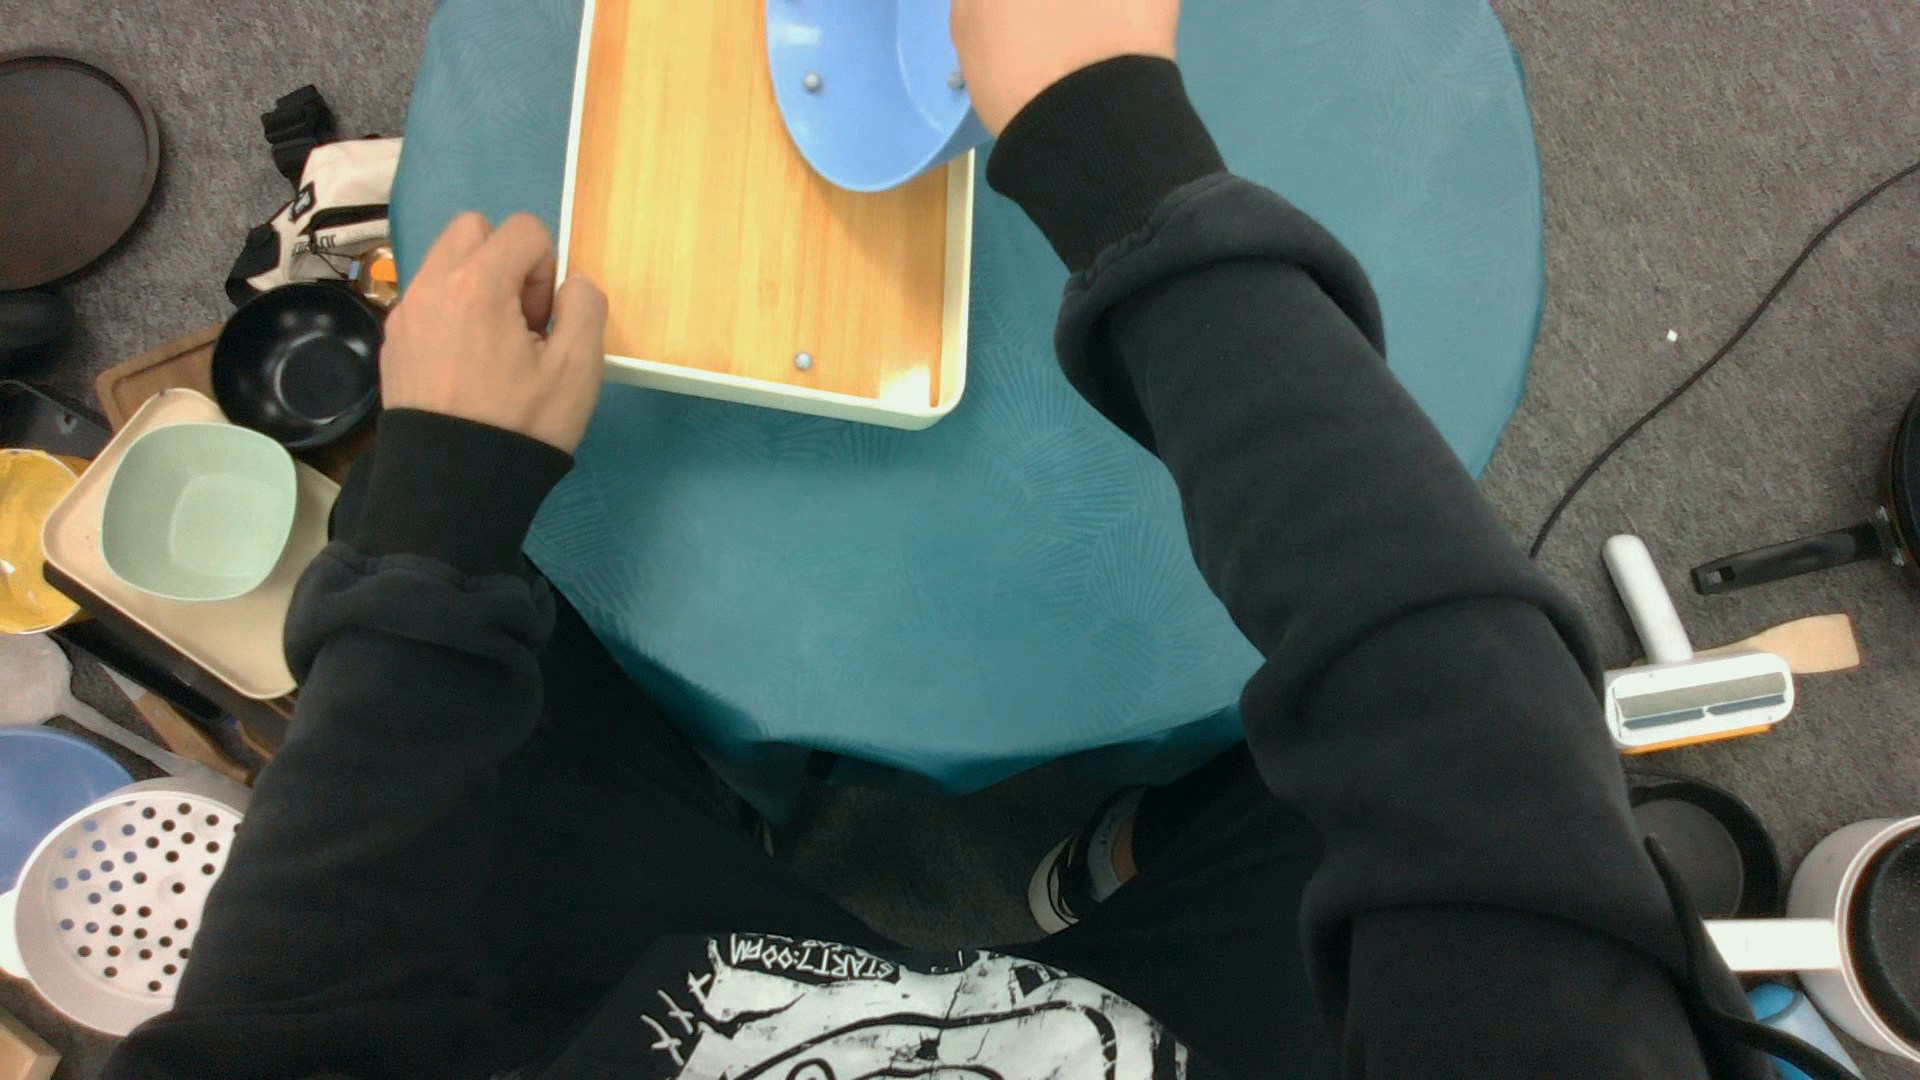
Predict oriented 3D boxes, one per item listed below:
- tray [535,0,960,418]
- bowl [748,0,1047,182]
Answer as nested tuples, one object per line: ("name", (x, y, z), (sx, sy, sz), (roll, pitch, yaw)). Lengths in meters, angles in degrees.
("tray", (-0.095, -0.214, 0.671), (0.192, 0.027, 0.301), (7, 73, -20))
("bowl", (-0.022, -0.249, 0.626), (0.070, 0.175, 0.176), (-5, 76, -41))
